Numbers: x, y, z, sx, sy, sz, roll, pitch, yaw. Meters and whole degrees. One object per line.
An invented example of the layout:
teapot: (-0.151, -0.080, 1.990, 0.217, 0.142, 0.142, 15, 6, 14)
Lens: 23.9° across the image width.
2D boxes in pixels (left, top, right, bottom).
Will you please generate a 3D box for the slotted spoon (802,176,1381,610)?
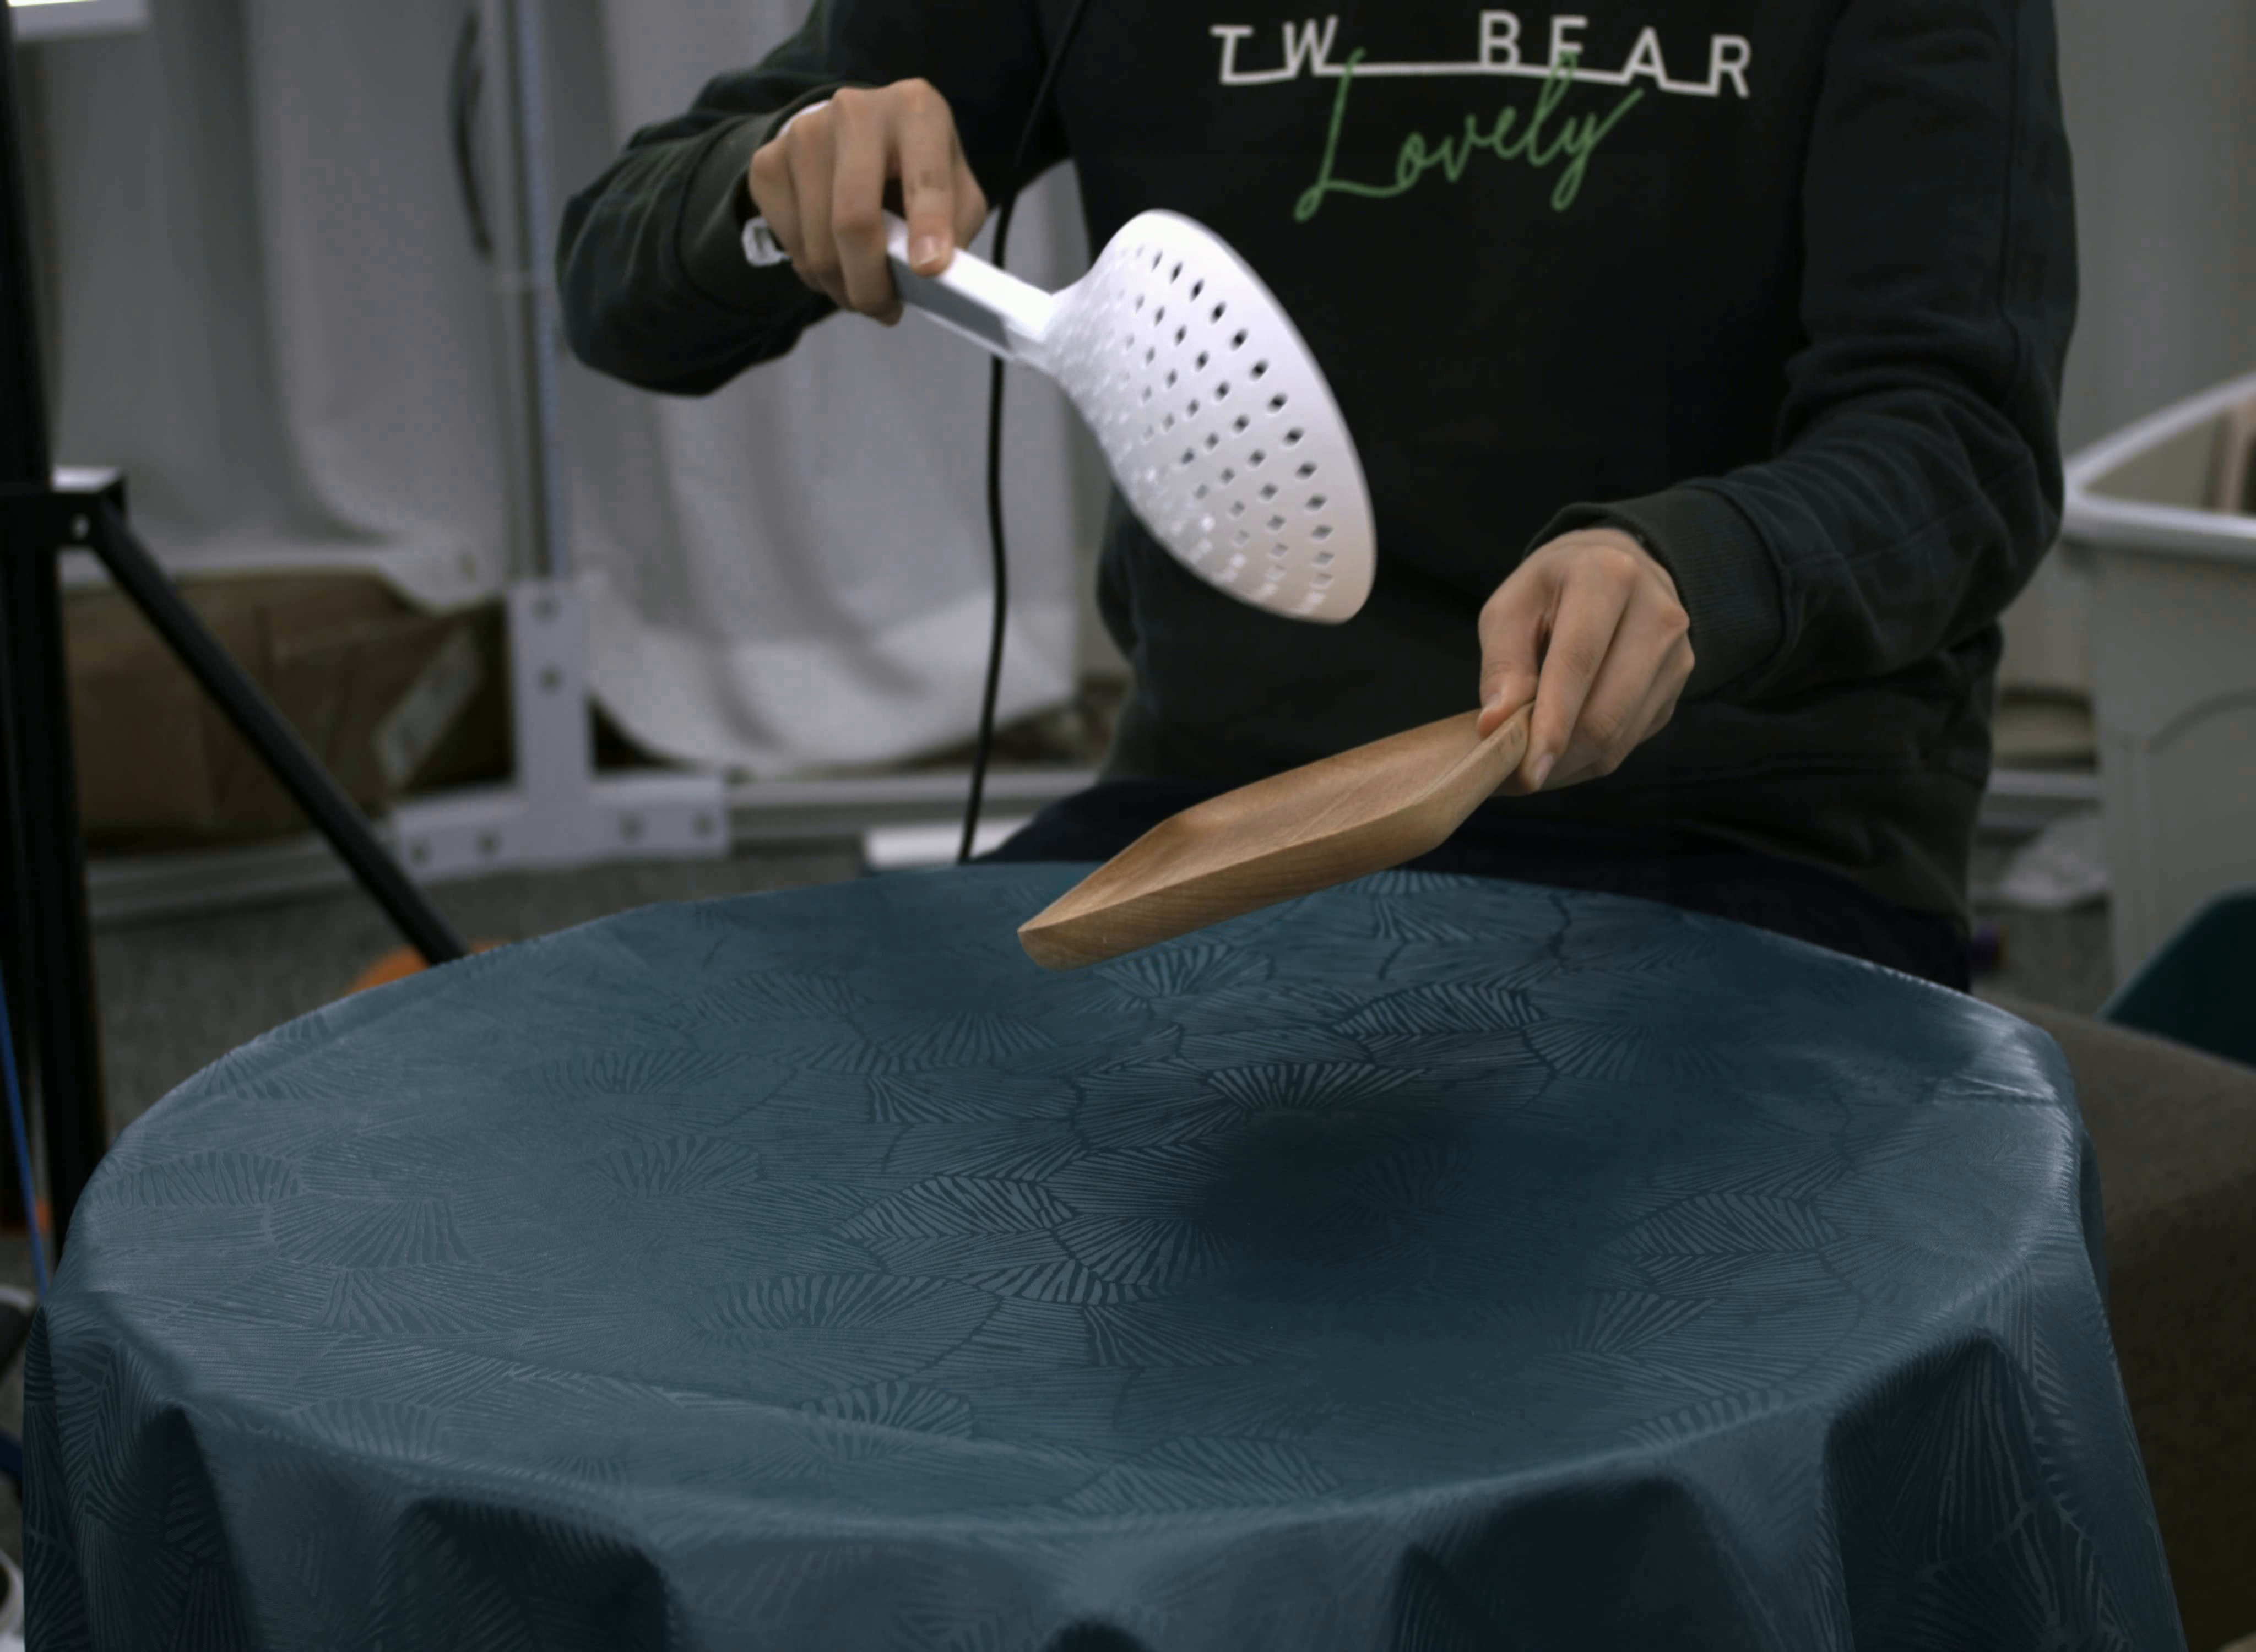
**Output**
slotted spoon: (-0.021, -0.158, 1.693, 0.045, 0.135, 0.357, -24, 28, -16)

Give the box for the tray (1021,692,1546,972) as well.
tray: (0.050, 0.001, 1.544, 0.131, 0.023, 0.248, -16, 4, 15)
